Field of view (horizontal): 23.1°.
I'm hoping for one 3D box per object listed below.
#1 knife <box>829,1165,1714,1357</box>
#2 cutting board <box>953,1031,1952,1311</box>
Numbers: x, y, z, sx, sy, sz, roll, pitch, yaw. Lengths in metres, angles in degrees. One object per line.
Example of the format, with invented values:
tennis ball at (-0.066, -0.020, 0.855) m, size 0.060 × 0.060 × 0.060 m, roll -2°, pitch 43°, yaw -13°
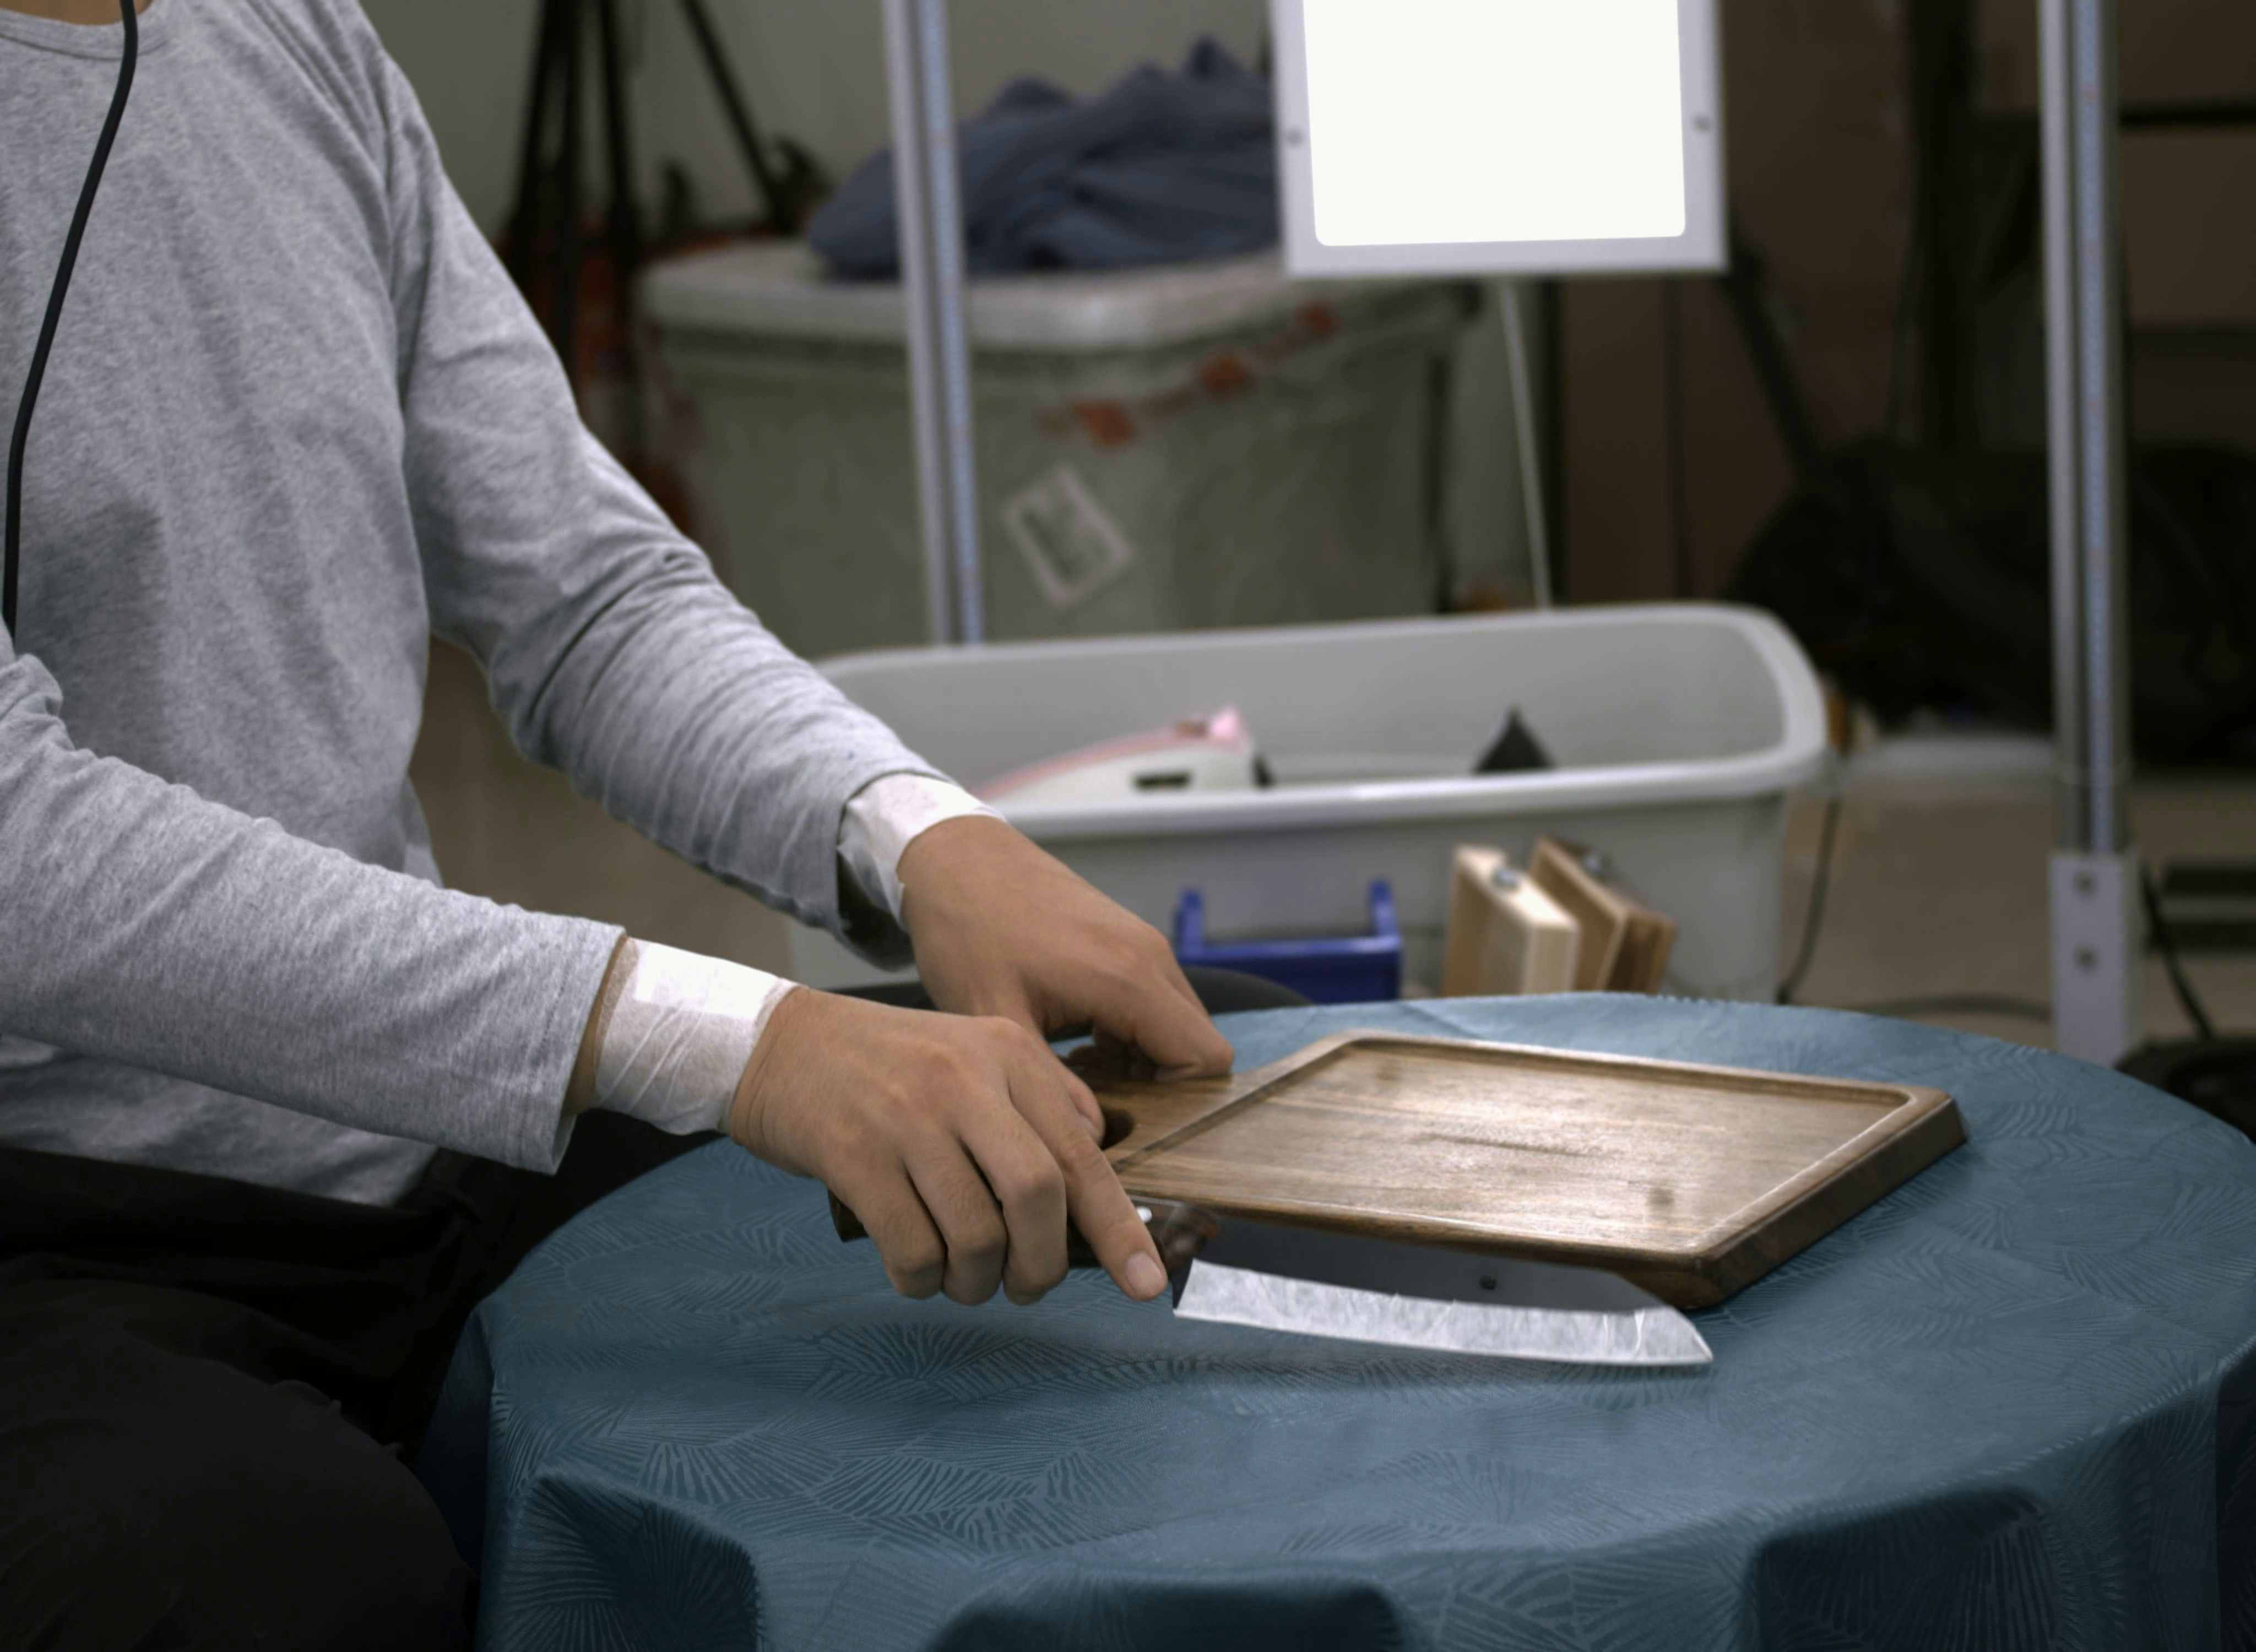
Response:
knife at (0.041, 0.136, 1.714) m, size 0.292 × 0.020 × 0.049 m, roll 8°, pitch 46°, yaw 17°
cutting board at (0.089, 0.110, 1.896) m, size 0.359 × 0.023 × 0.196 m, roll 5°, pitch 16°, yaw 35°
